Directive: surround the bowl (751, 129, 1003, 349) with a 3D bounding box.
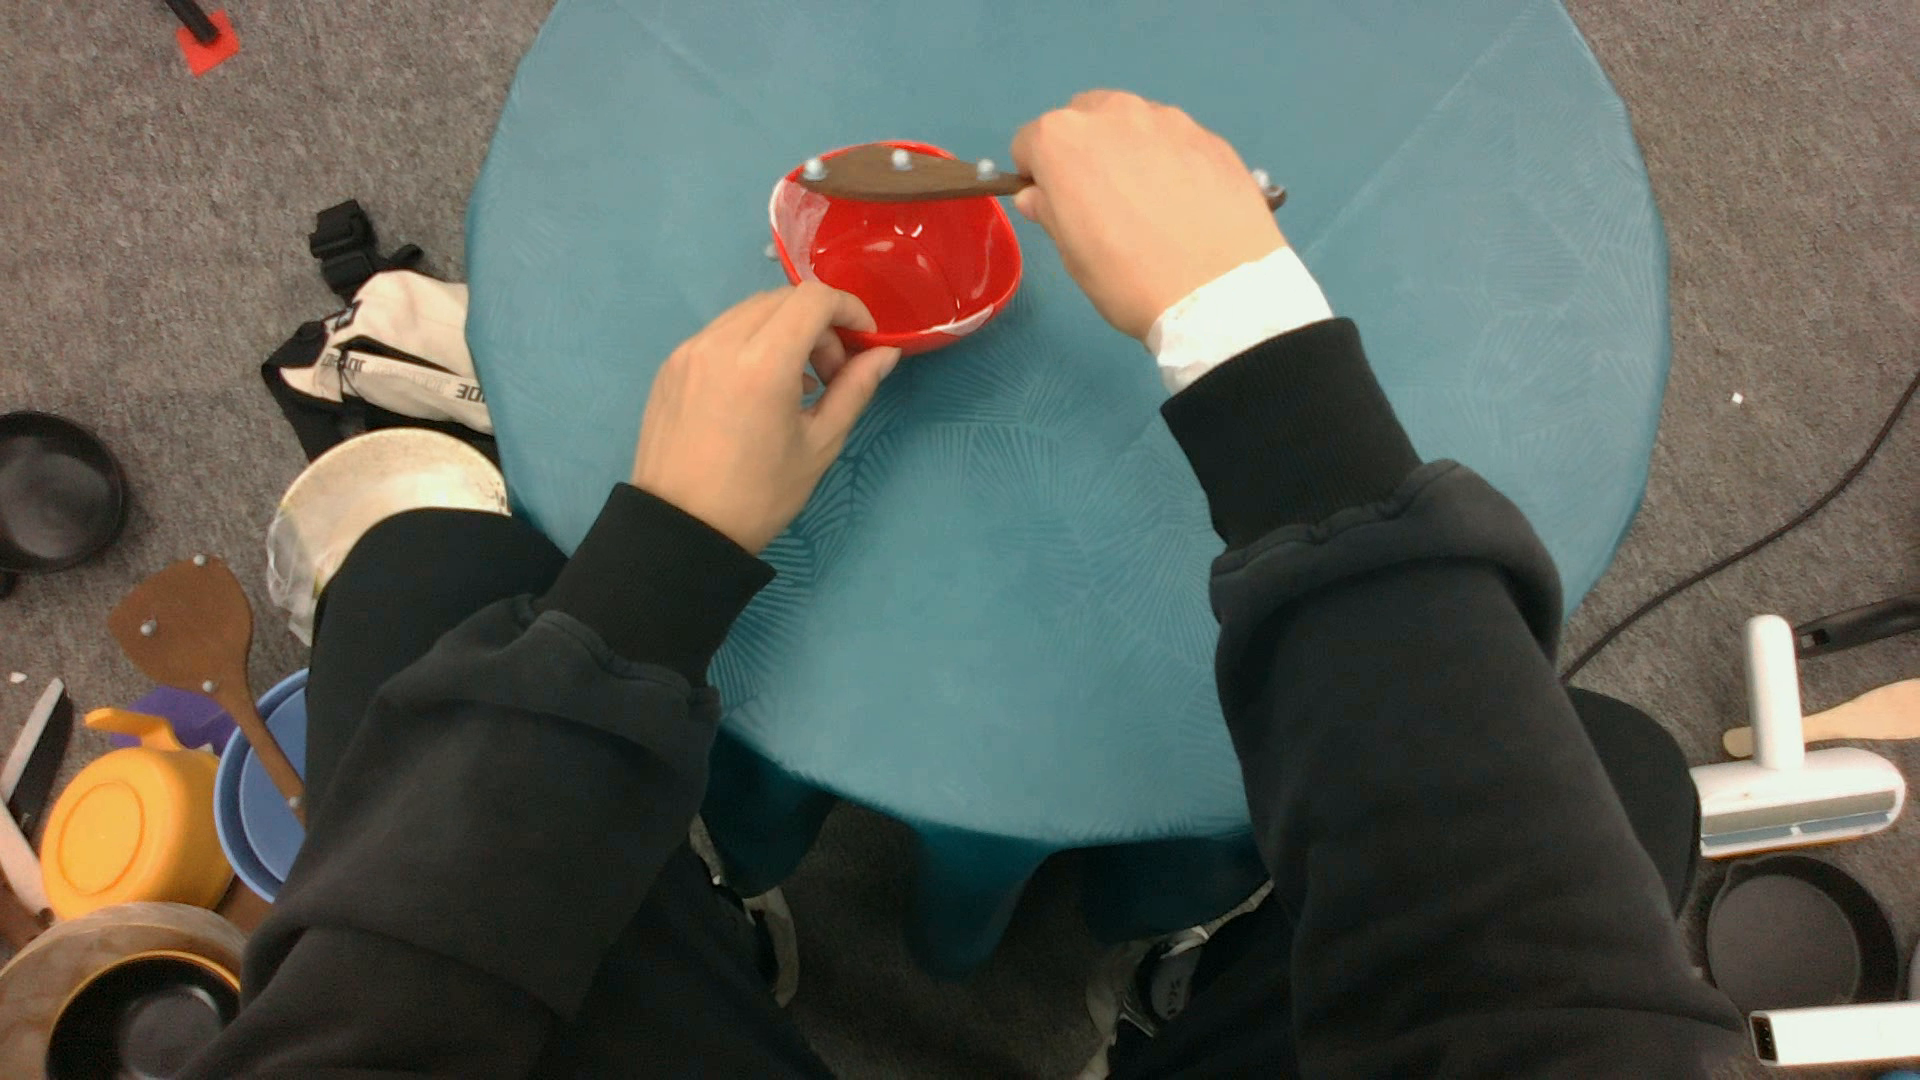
[{"bbox_3d":[-0.042,-0.133,0.648,0.119,0.051,0.119,6,61,-12],"label":"bowl"}]

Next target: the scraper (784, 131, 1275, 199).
[{"bbox_3d":[0.027,-0.156,0.579,0.211,0.011,0.076,12,31,26],"label":"scraper"}]
